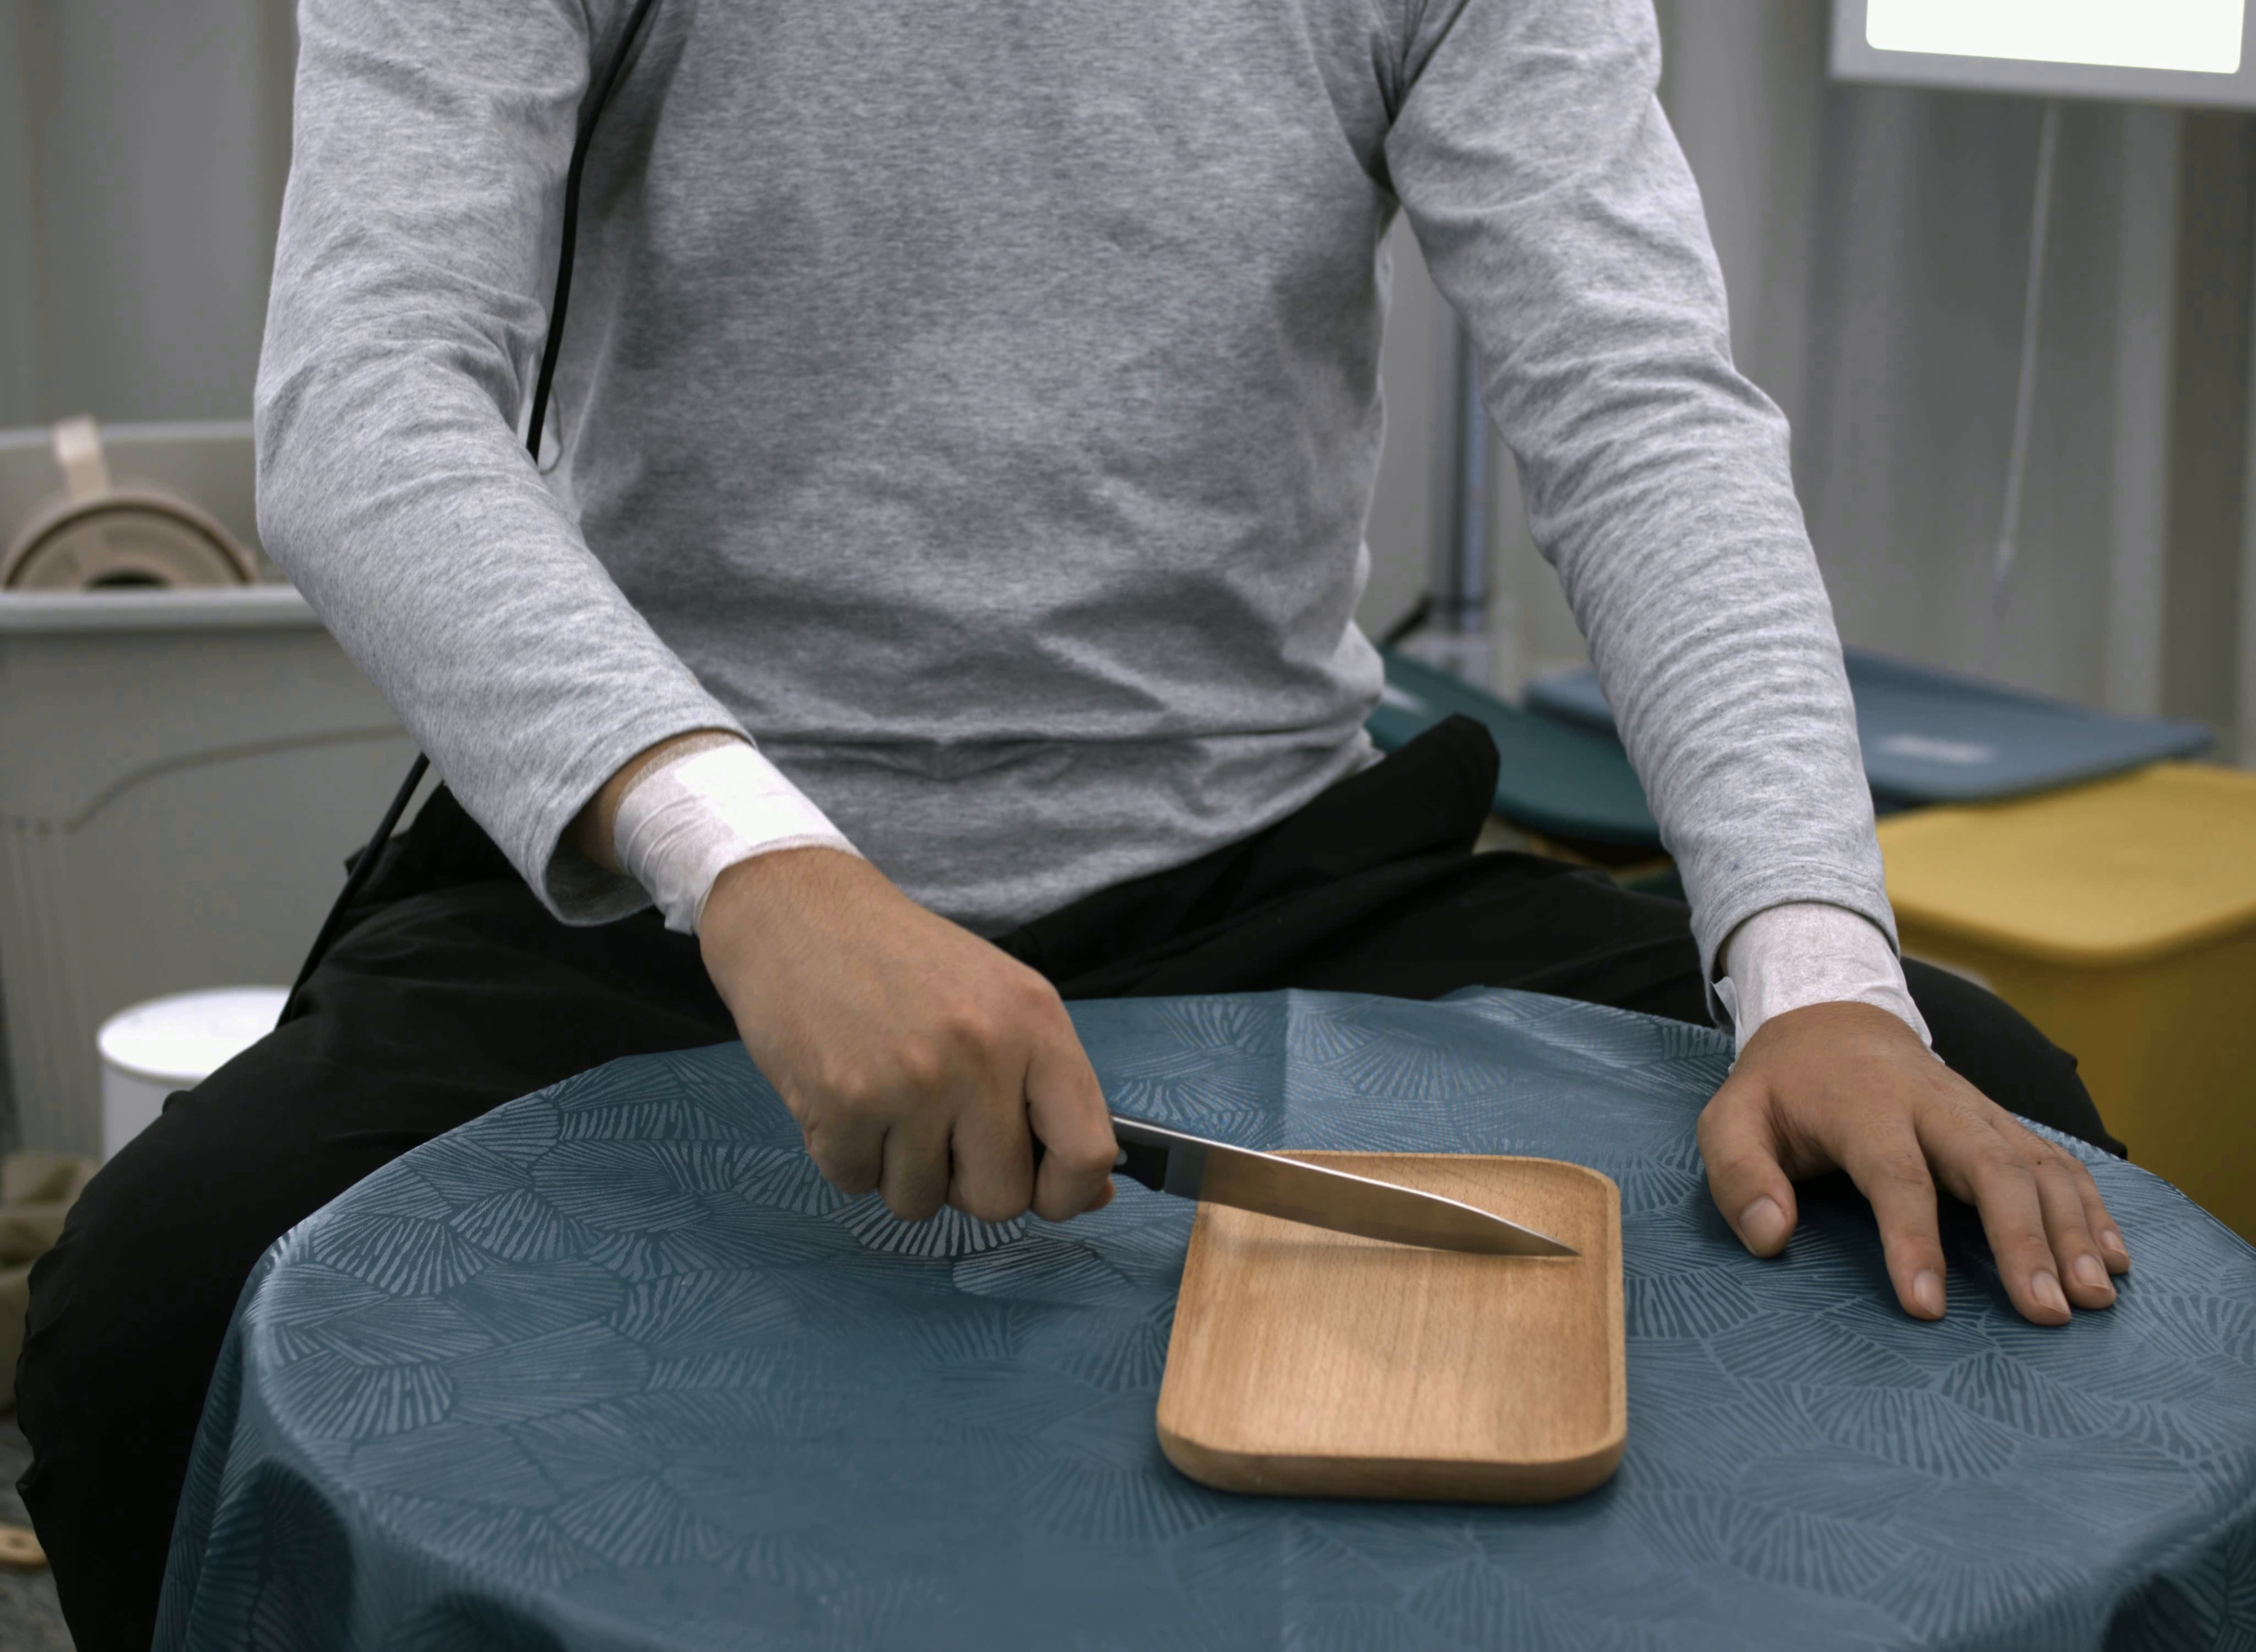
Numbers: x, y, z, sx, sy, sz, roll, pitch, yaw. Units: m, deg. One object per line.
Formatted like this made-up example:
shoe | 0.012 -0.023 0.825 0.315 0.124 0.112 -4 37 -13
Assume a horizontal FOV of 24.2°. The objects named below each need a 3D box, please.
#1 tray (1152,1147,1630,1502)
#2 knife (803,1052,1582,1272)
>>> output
tray | 0.078 0.139 1.501 0.130 0.023 0.250 5 15 4
knife | 0.019 0.100 1.556 0.237 0.025 0.016 13 32 6
